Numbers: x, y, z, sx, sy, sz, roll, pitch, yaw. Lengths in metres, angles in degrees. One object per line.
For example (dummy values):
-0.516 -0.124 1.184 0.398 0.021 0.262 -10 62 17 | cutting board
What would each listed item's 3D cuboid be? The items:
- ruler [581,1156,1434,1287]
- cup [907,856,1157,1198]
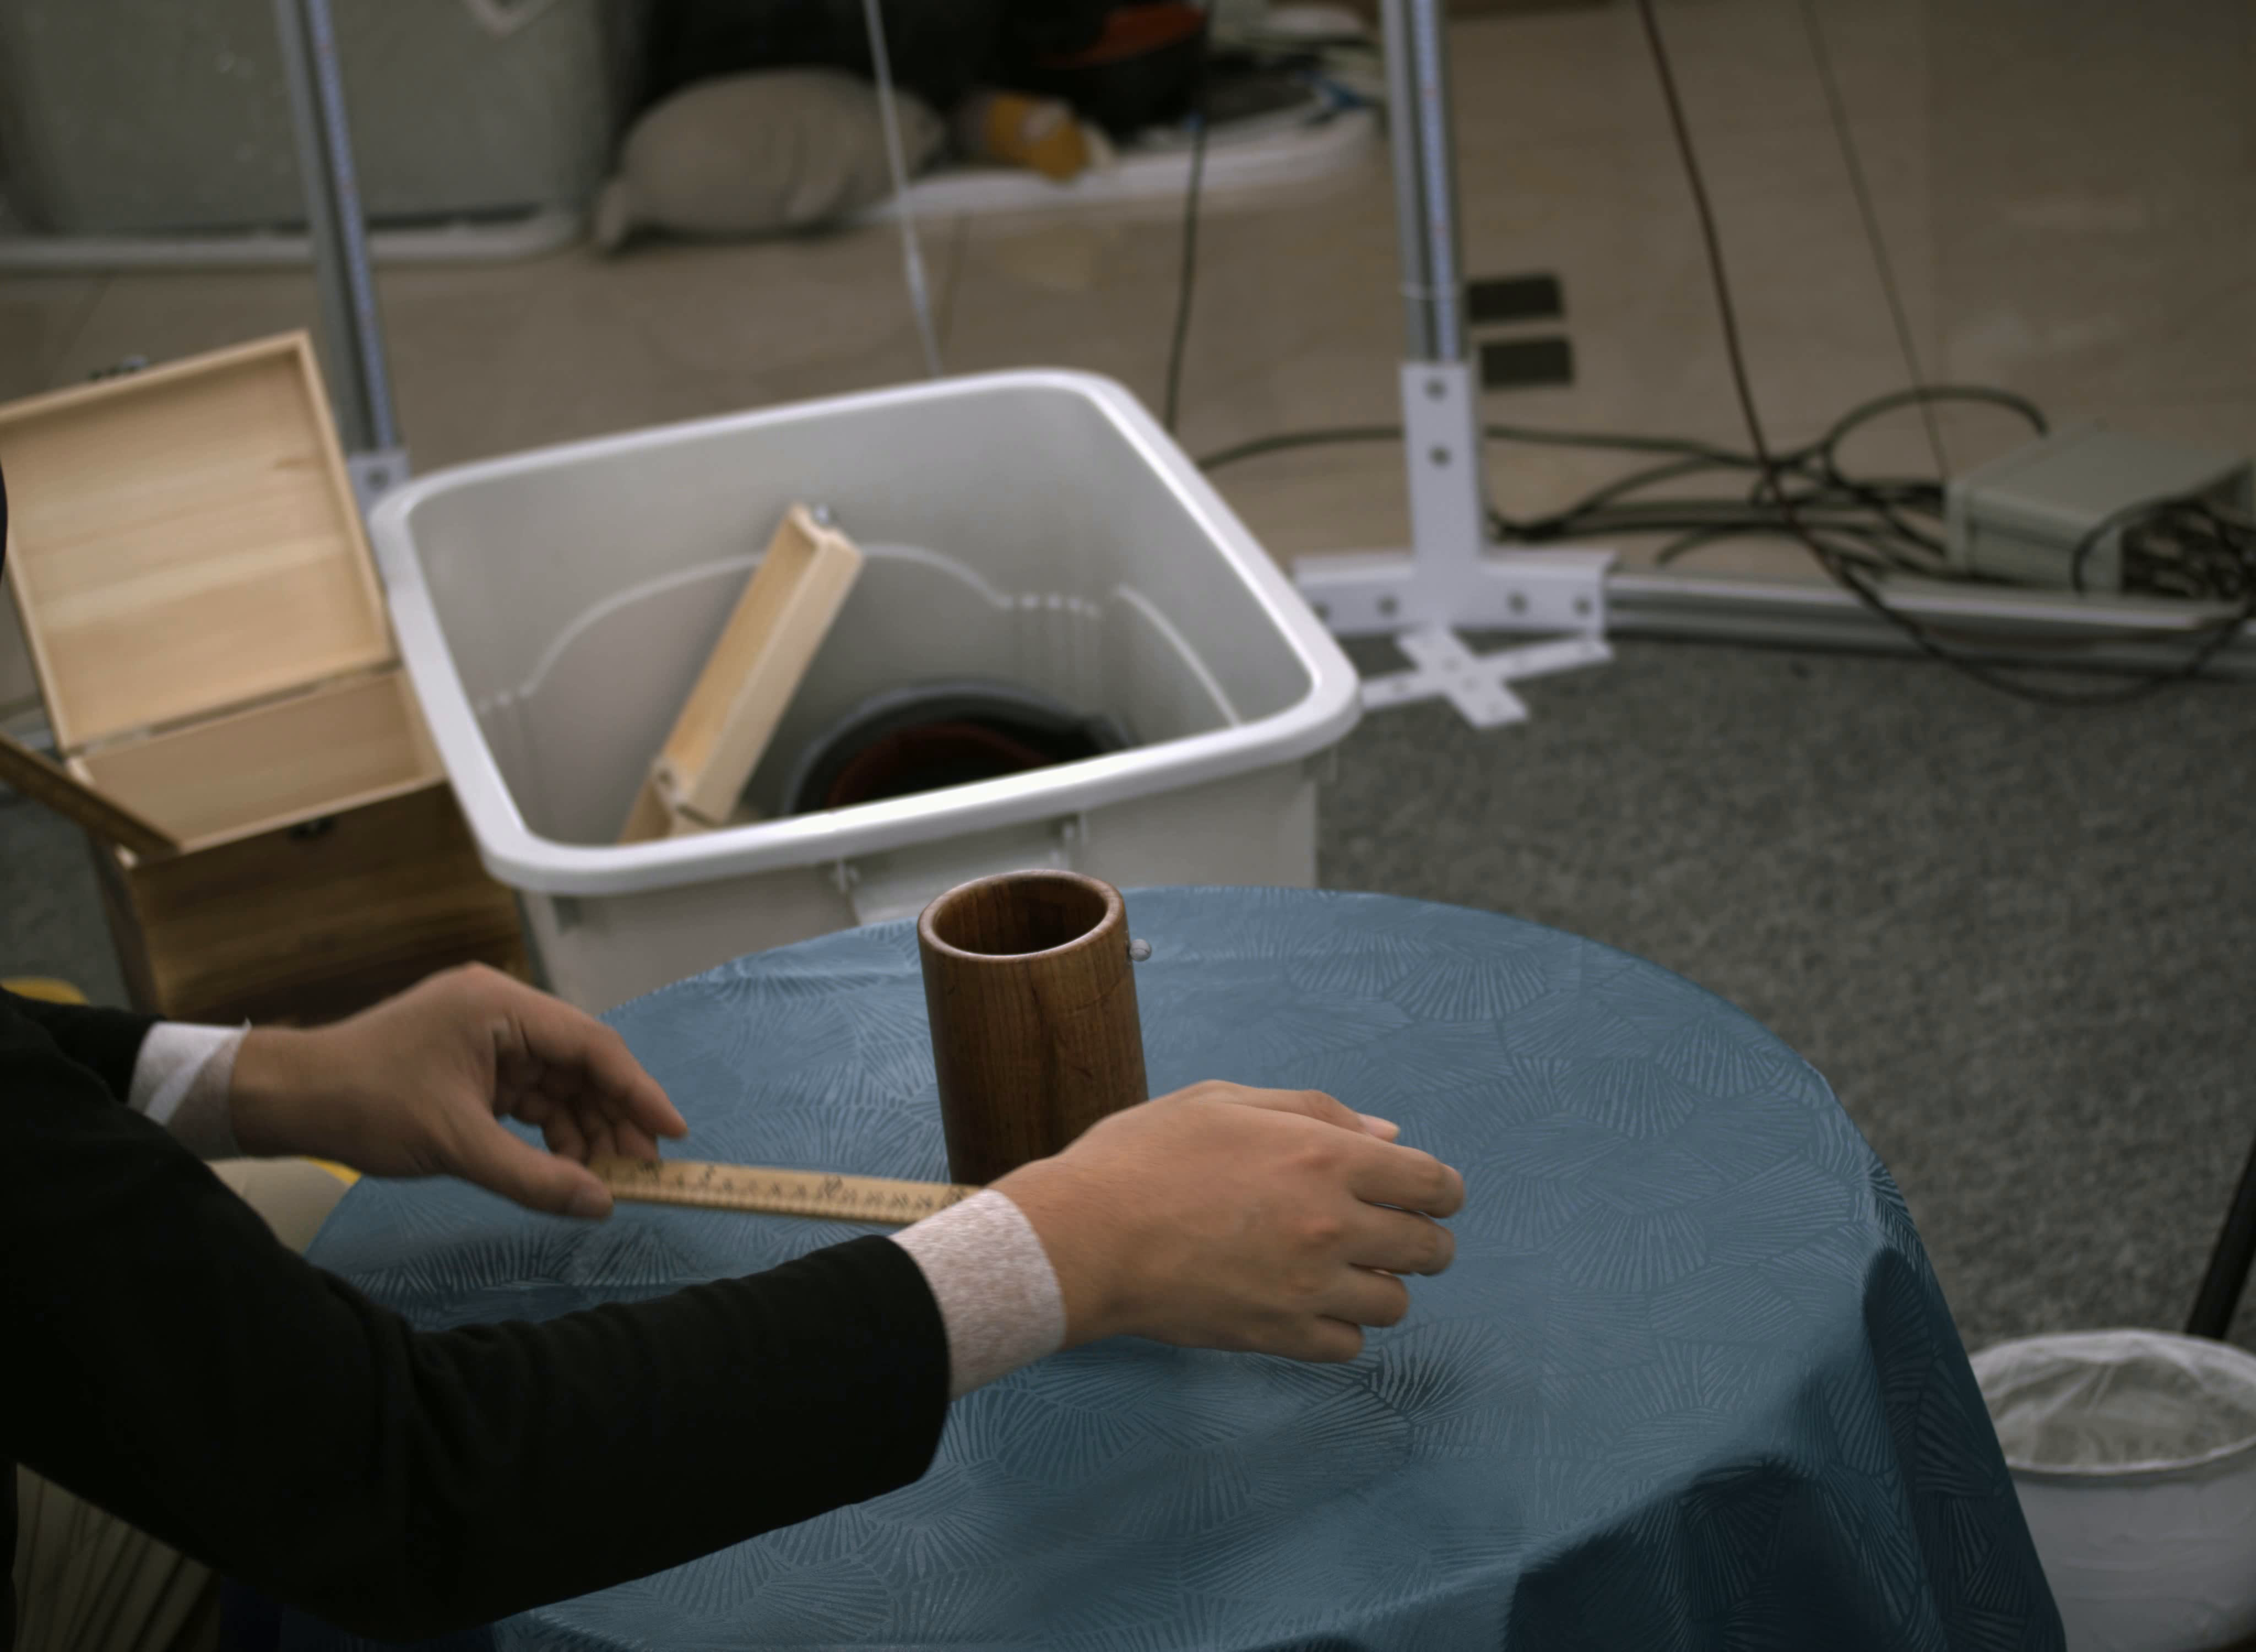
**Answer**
-0.049 0.141 2.059 0.331 0.022 0.027 4 28 23 | ruler
-0.033 0.081 2.141 0.087 0.120 0.086 -6 25 3 | cup
